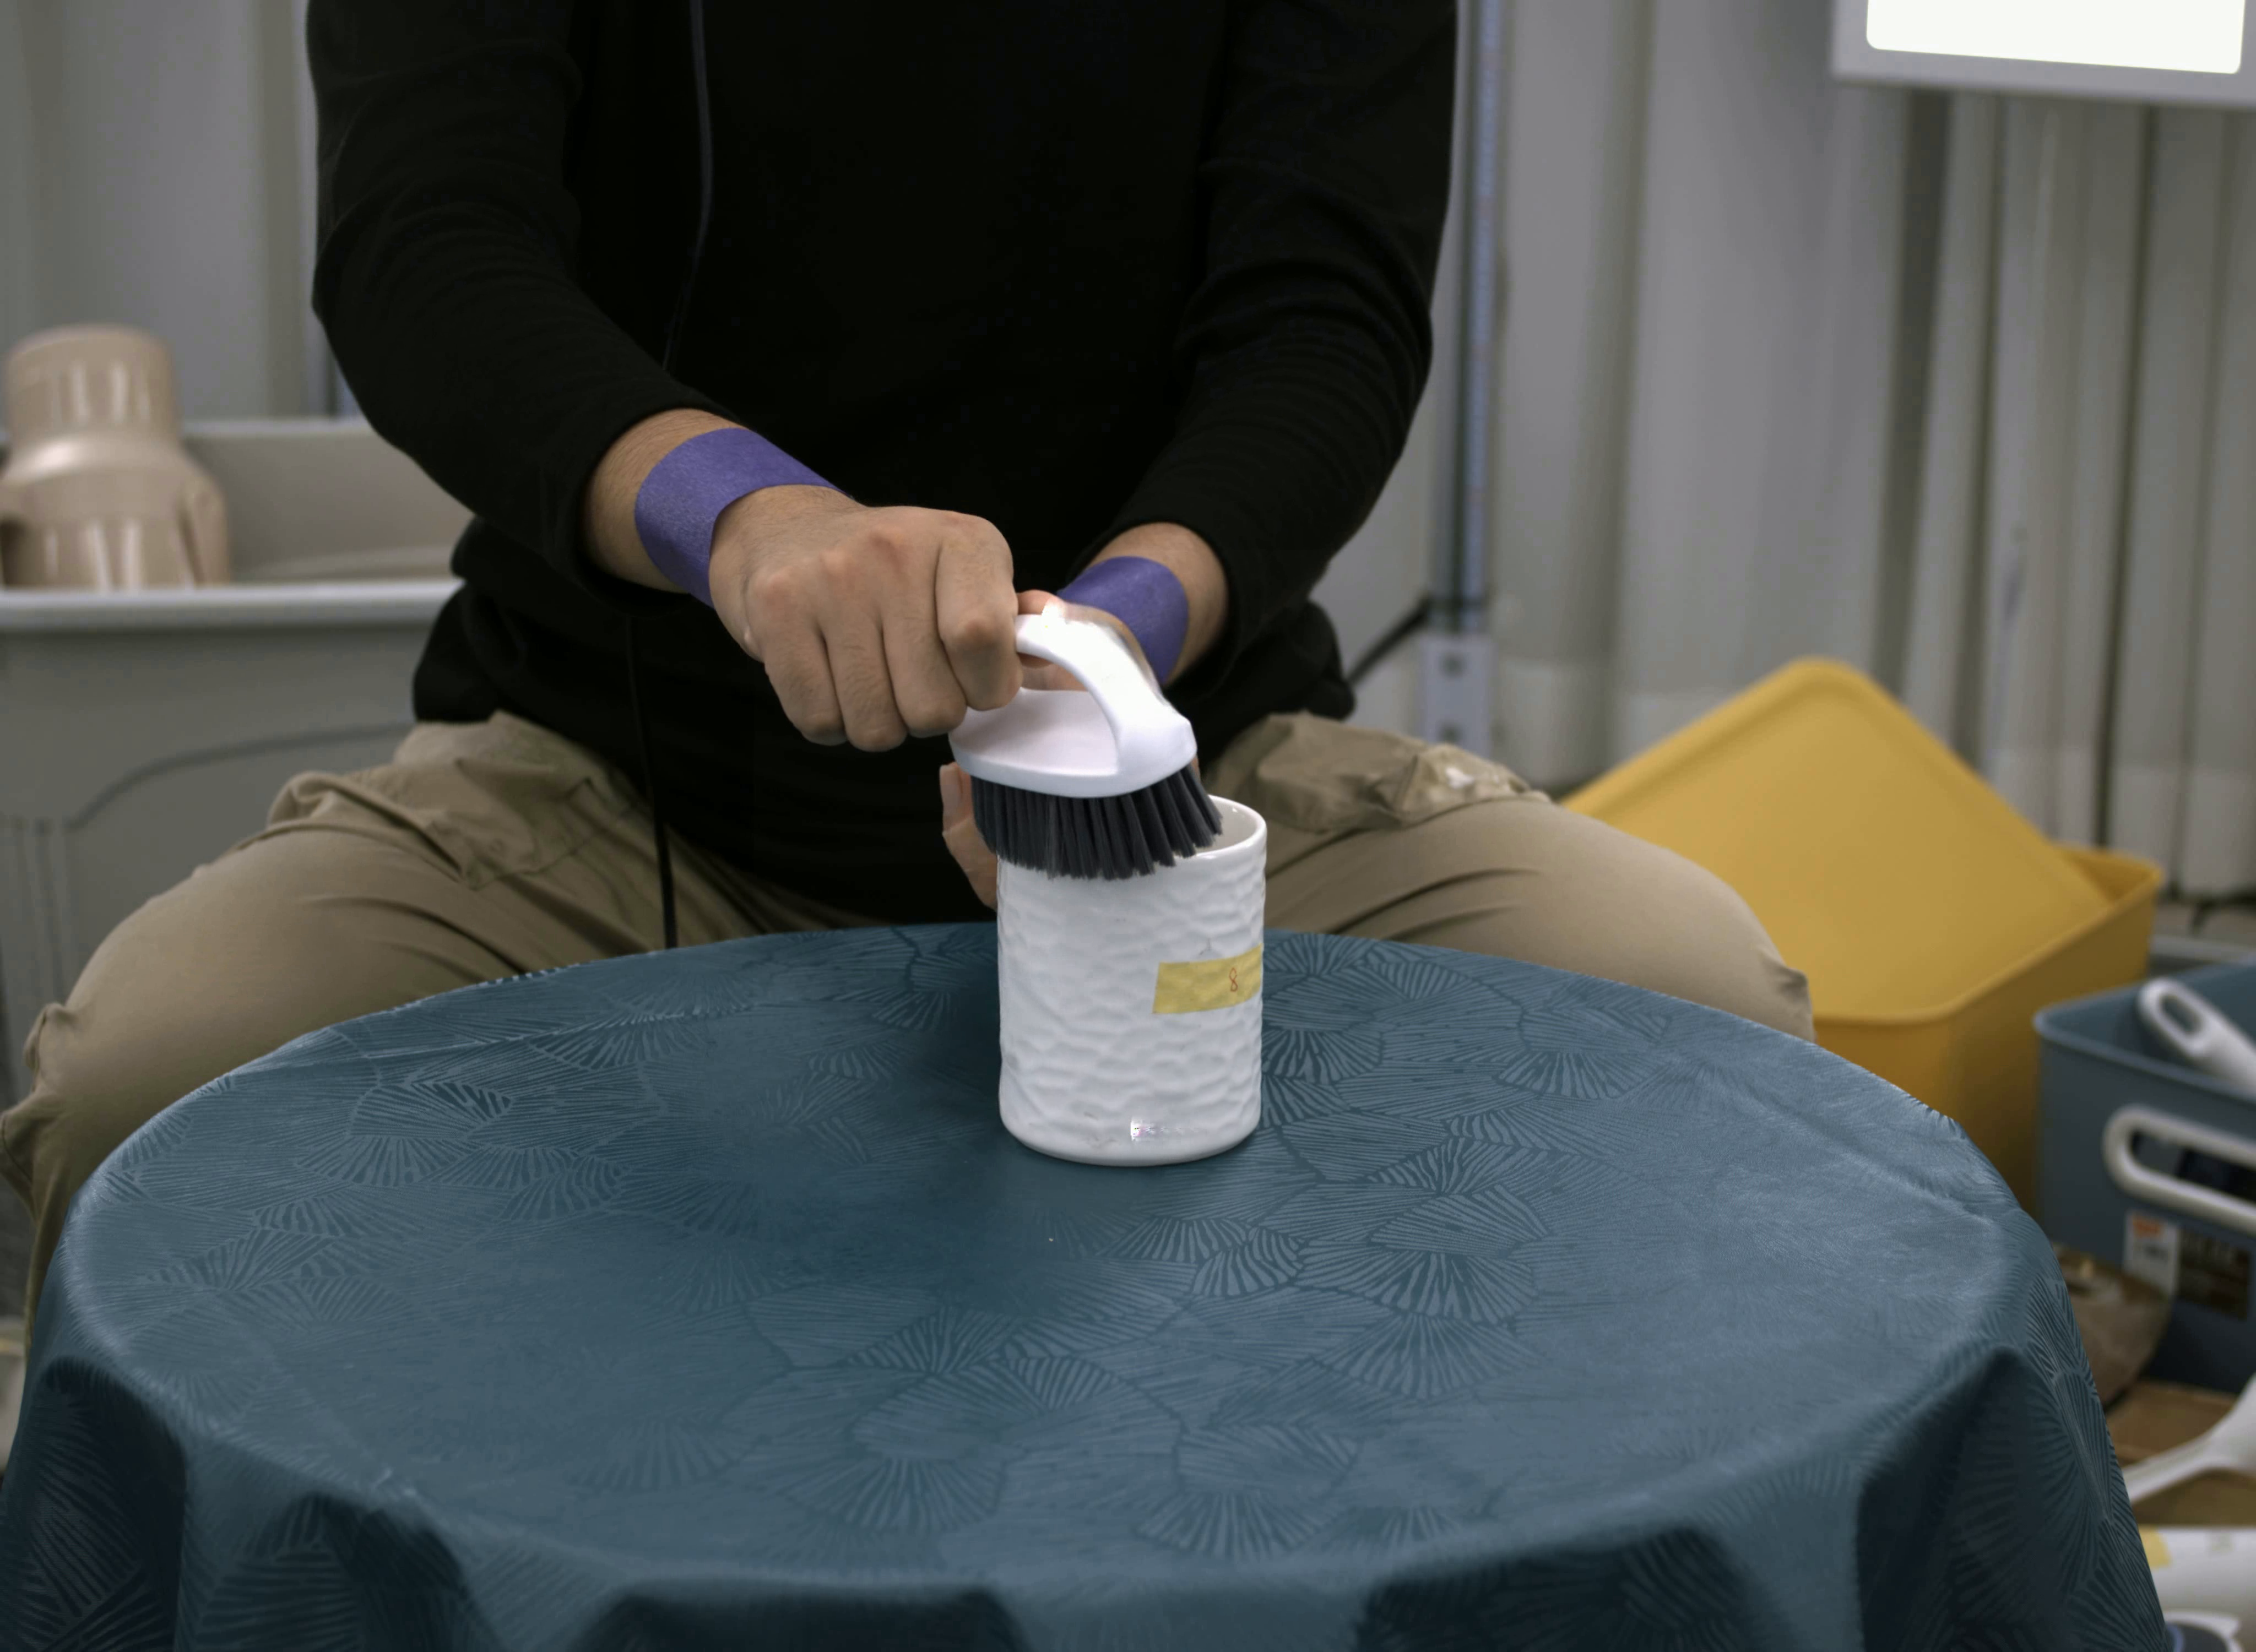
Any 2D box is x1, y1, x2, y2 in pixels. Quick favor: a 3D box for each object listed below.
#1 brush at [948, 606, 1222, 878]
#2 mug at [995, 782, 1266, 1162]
[{"bbox_3d":[-0.019,-0.031,1.596,0.050,0.073,0.098,-29,25,-27],"label":"brush"},{"bbox_3d":[-0.005,0.041,1.678,0.085,0.103,0.117,-8,19,-21],"label":"mug"}]
